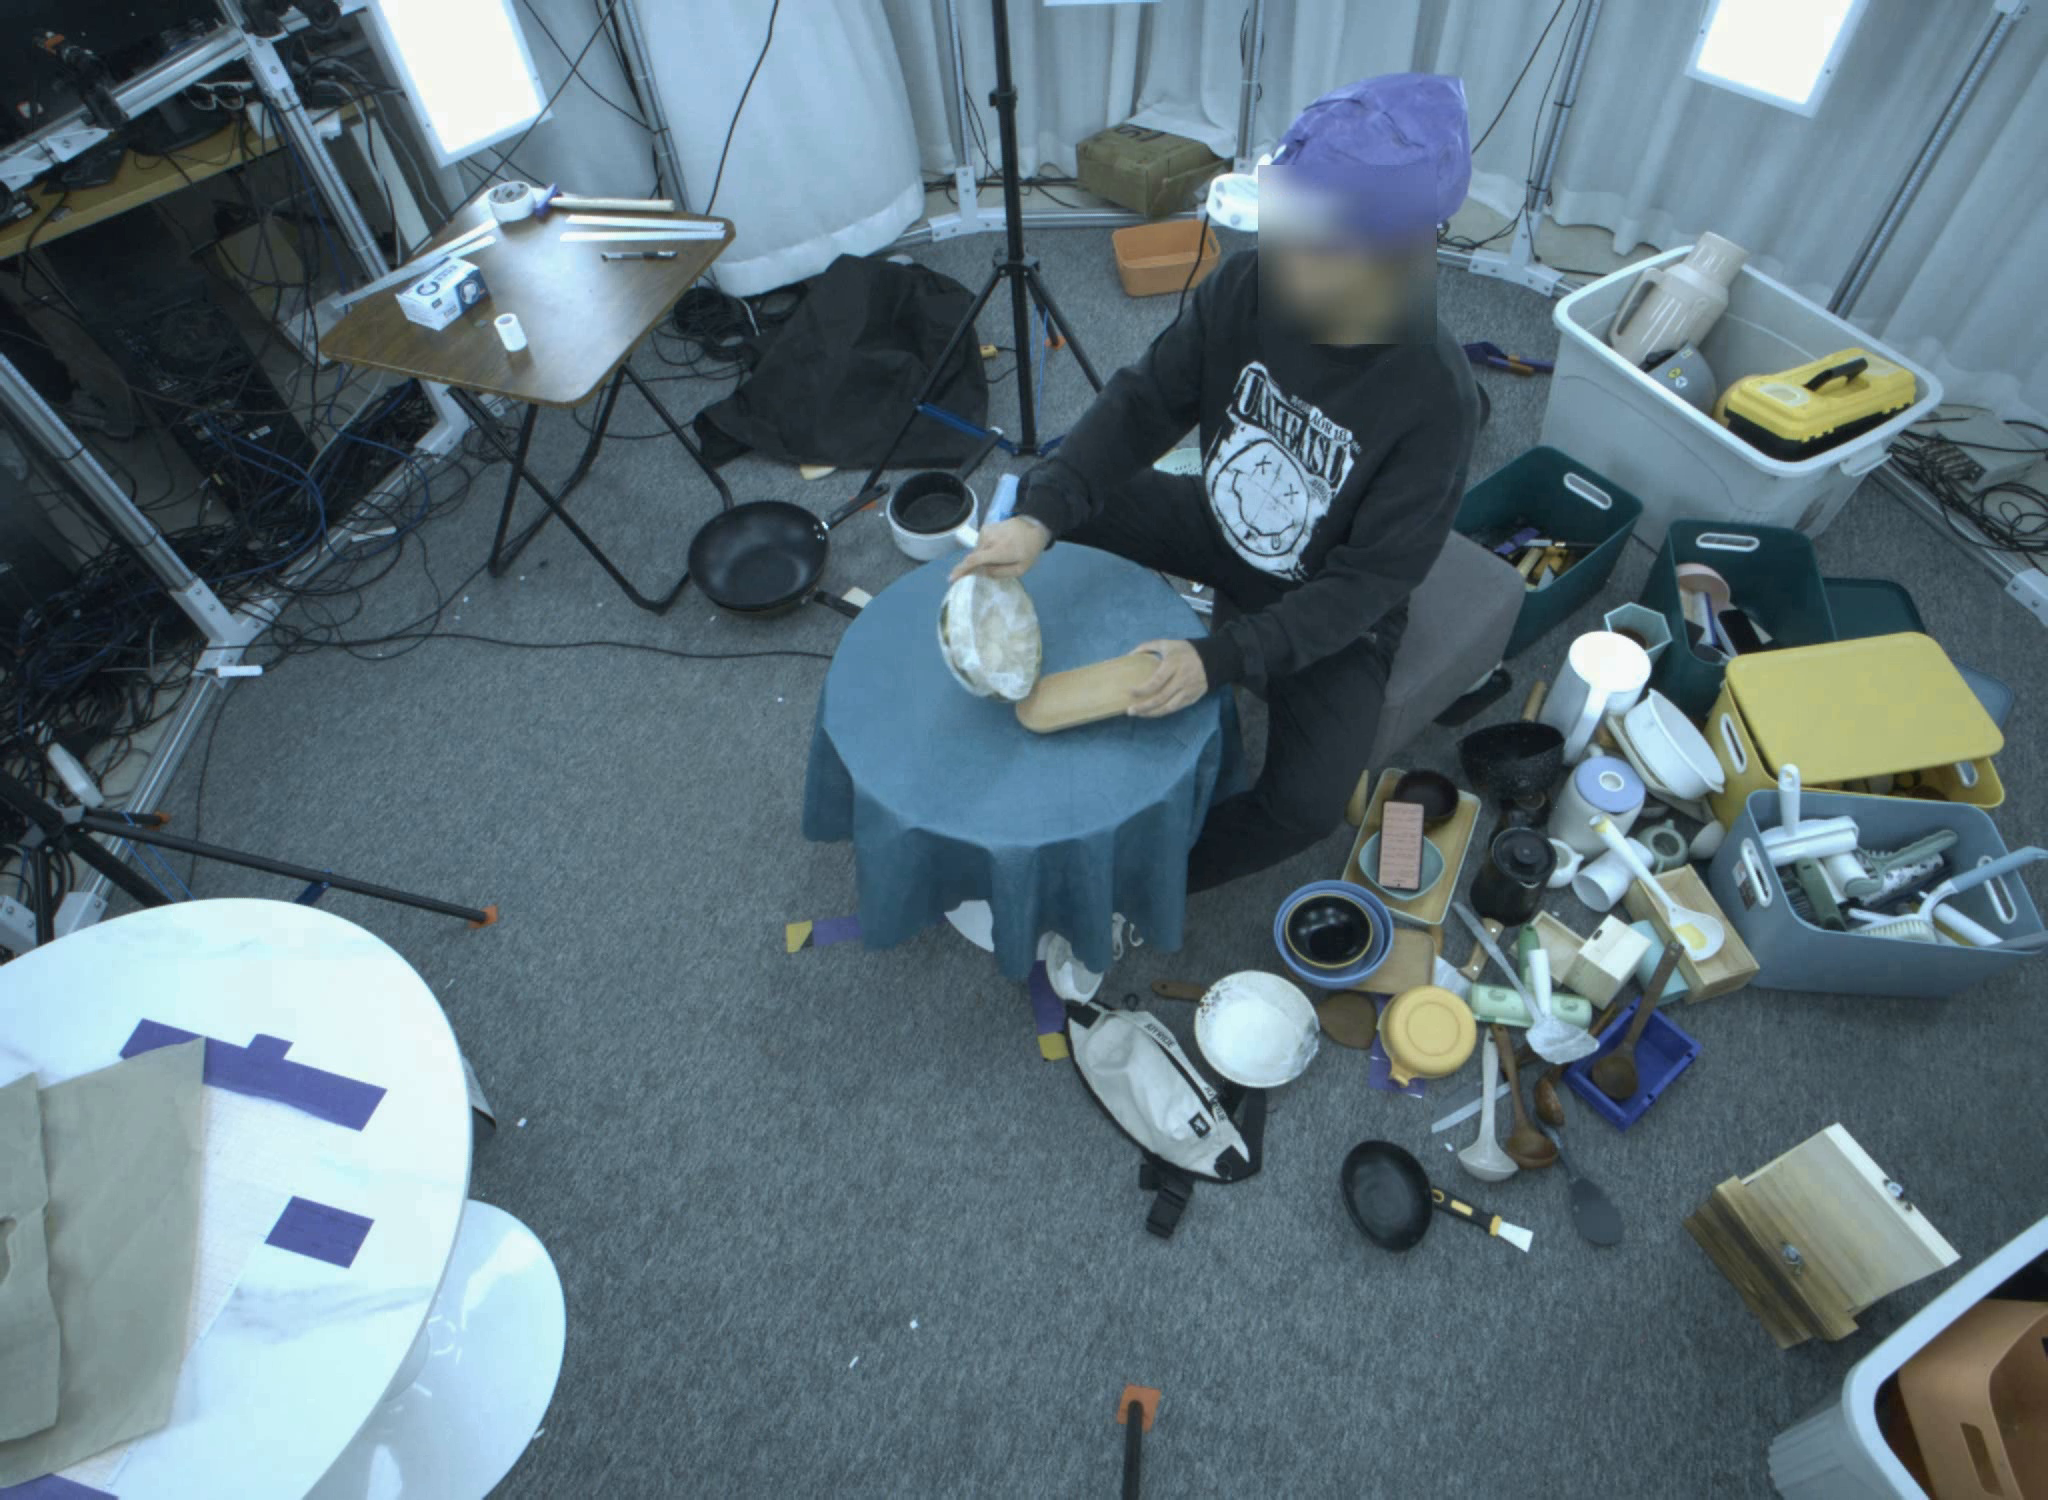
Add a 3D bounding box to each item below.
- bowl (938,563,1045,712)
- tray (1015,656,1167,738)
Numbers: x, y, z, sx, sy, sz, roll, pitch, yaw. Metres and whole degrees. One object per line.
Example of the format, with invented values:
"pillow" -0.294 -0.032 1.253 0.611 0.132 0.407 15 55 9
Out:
"bowl" -0.059 -0.156 1.763 0.093 0.219 0.213 -8 51 29
"tray" 0.098 -0.077 1.807 0.230 0.021 0.100 -16 49 11
